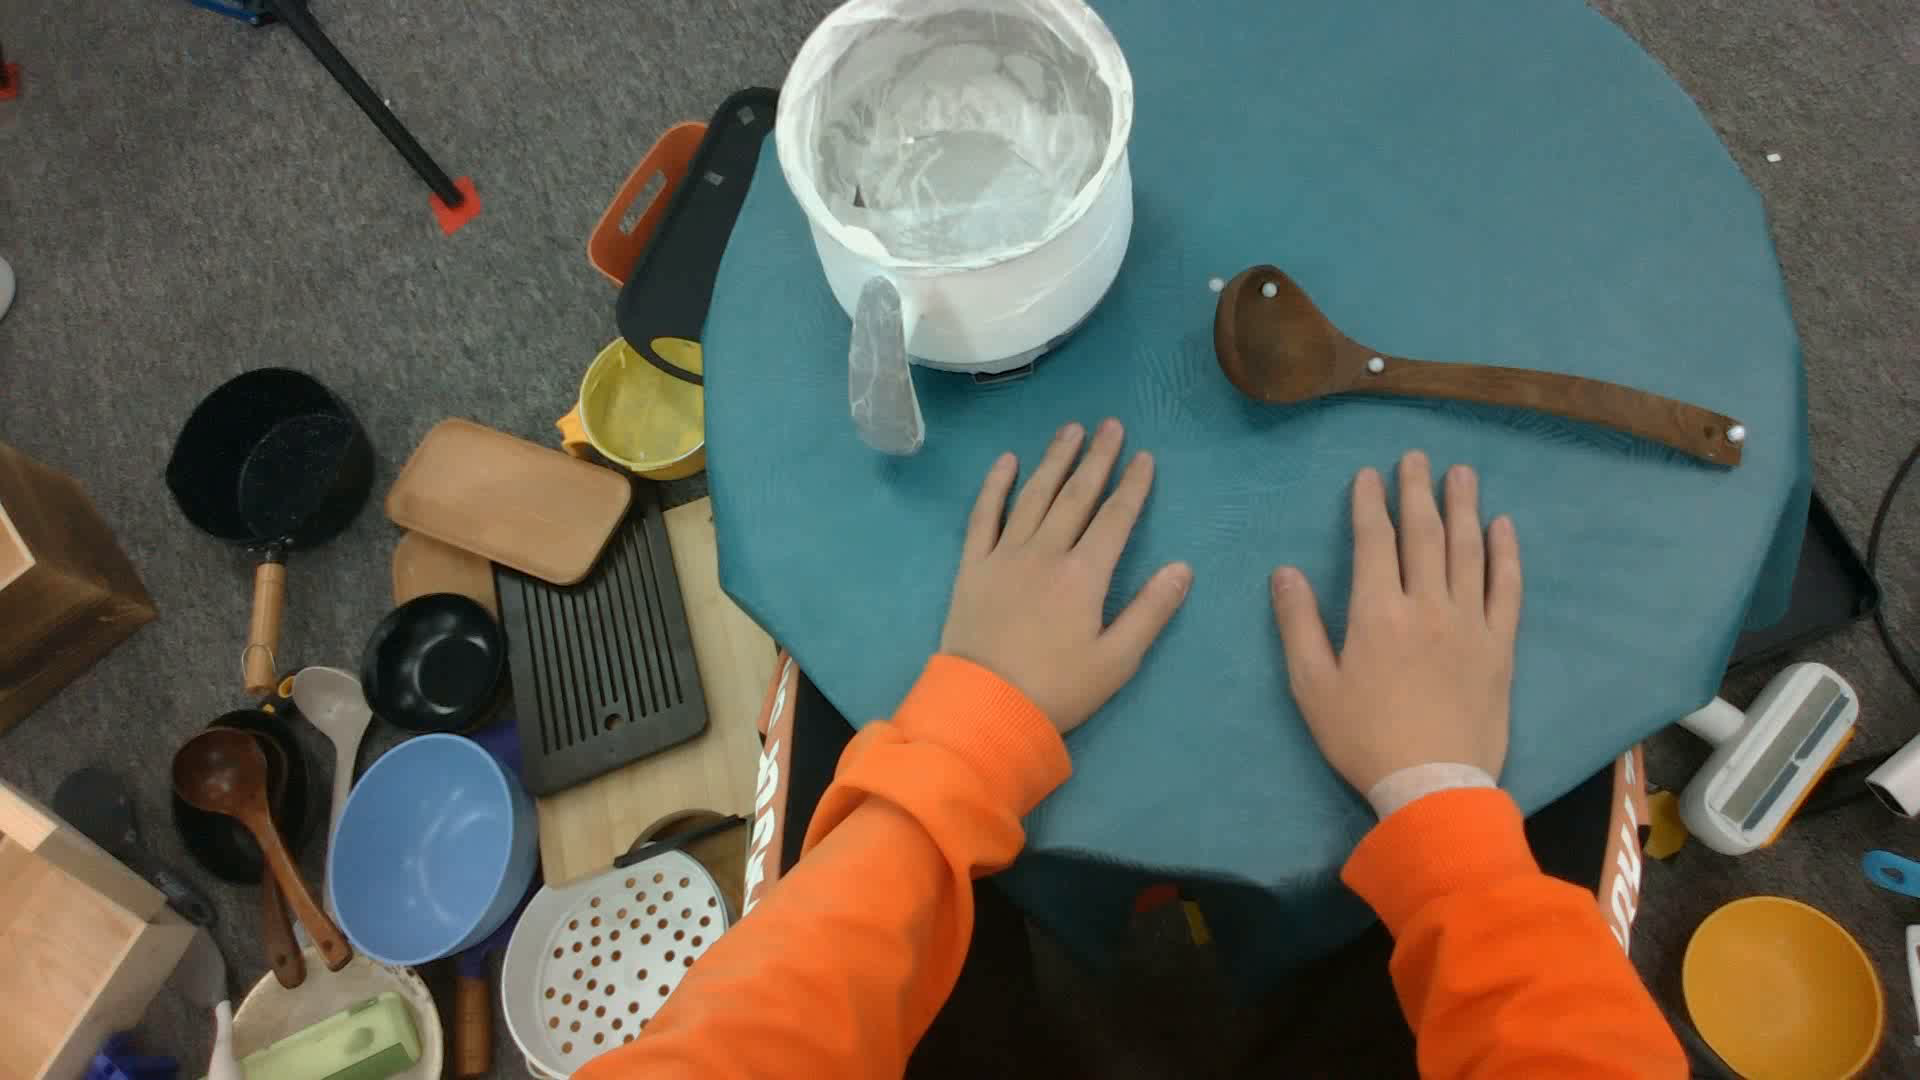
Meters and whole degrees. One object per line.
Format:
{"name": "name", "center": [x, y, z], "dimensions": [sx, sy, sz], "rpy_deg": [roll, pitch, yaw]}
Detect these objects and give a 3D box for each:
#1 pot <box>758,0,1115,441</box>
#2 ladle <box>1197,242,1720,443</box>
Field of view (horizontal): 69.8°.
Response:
{"name": "pot", "center": [-0.014, -0.173, 0.731], "dimensions": [0.178, 0.136, 0.234], "rpy_deg": [15, 74, 12]}
{"name": "ladle", "center": [0.259, -0.097, 0.711], "dimensions": [0.274, 0.071, 0.076], "rpy_deg": [12, 76, 11]}
